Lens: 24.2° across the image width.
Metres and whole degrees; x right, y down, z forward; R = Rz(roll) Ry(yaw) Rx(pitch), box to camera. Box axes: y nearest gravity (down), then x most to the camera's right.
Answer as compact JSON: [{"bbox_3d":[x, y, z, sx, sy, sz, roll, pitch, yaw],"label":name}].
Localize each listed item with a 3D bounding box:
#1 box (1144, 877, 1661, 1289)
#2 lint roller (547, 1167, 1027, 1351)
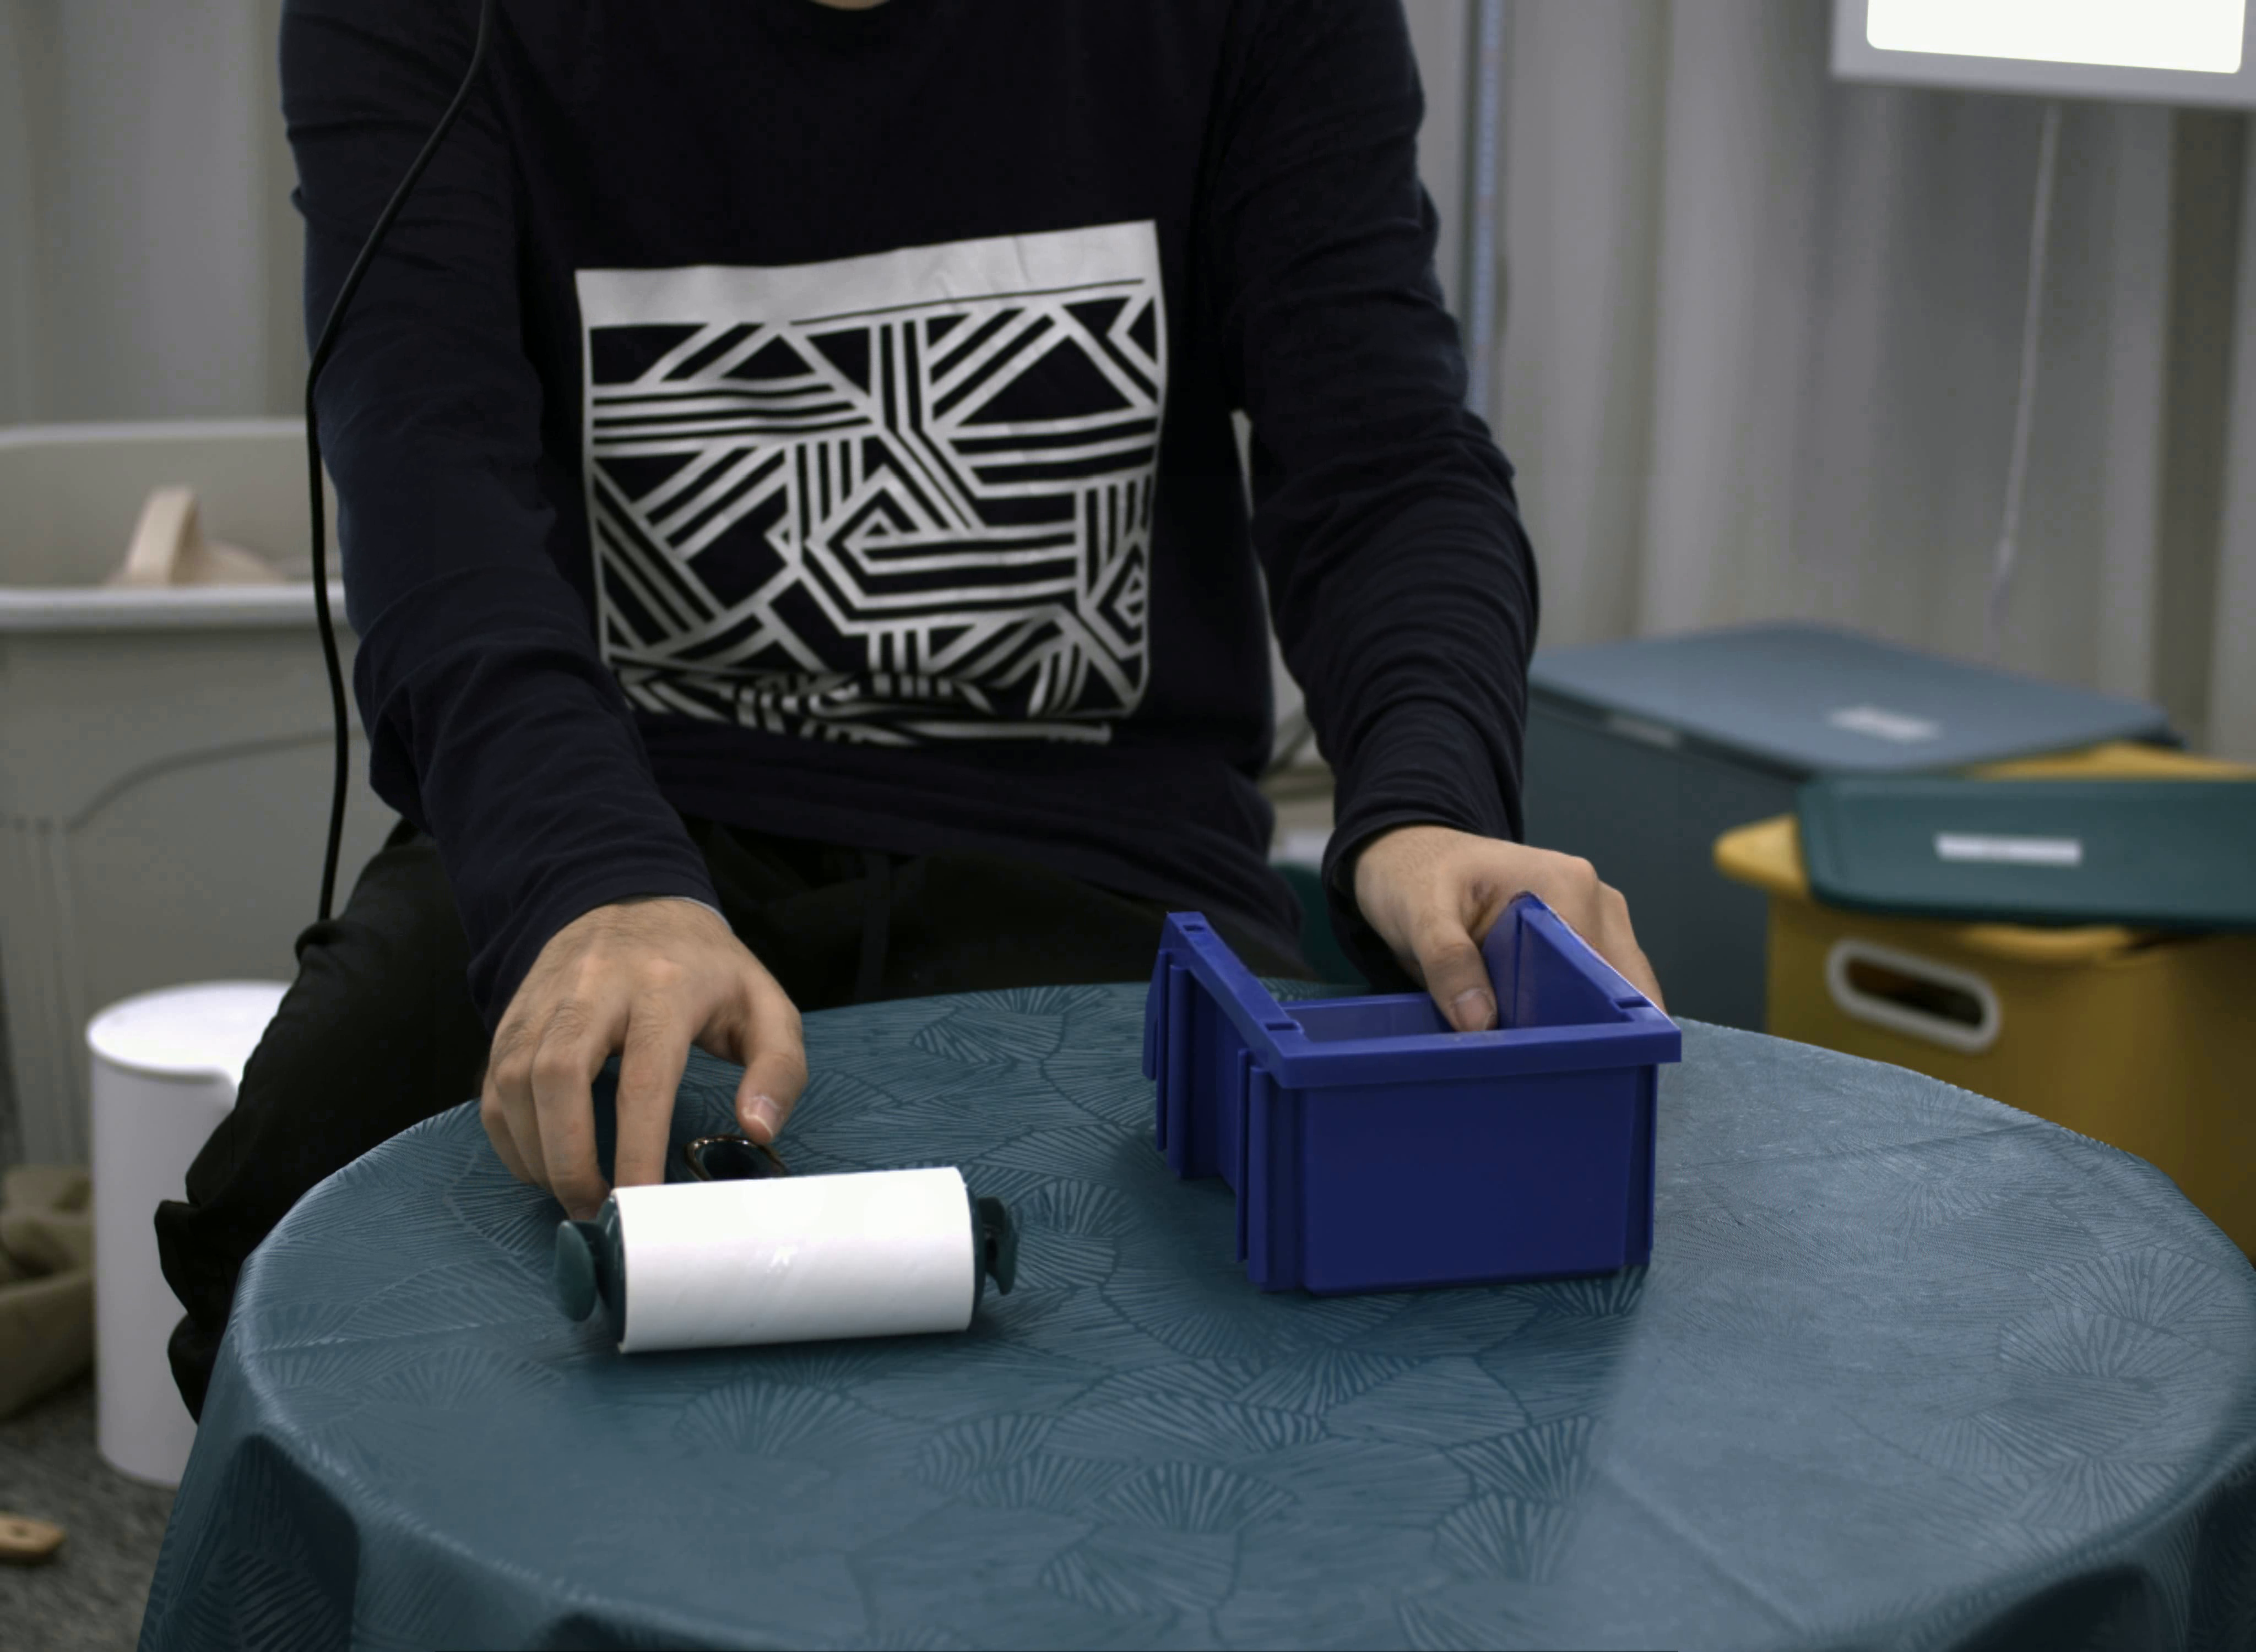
[{"bbox_3d":[0.078,0.074,1.613,0.124,0.082,0.177,-4,19,-11],"label":"box"},{"bbox_3d":[-0.112,0.109,1.556,0.134,0.048,0.178,-2,13,-13],"label":"lint roller"}]
